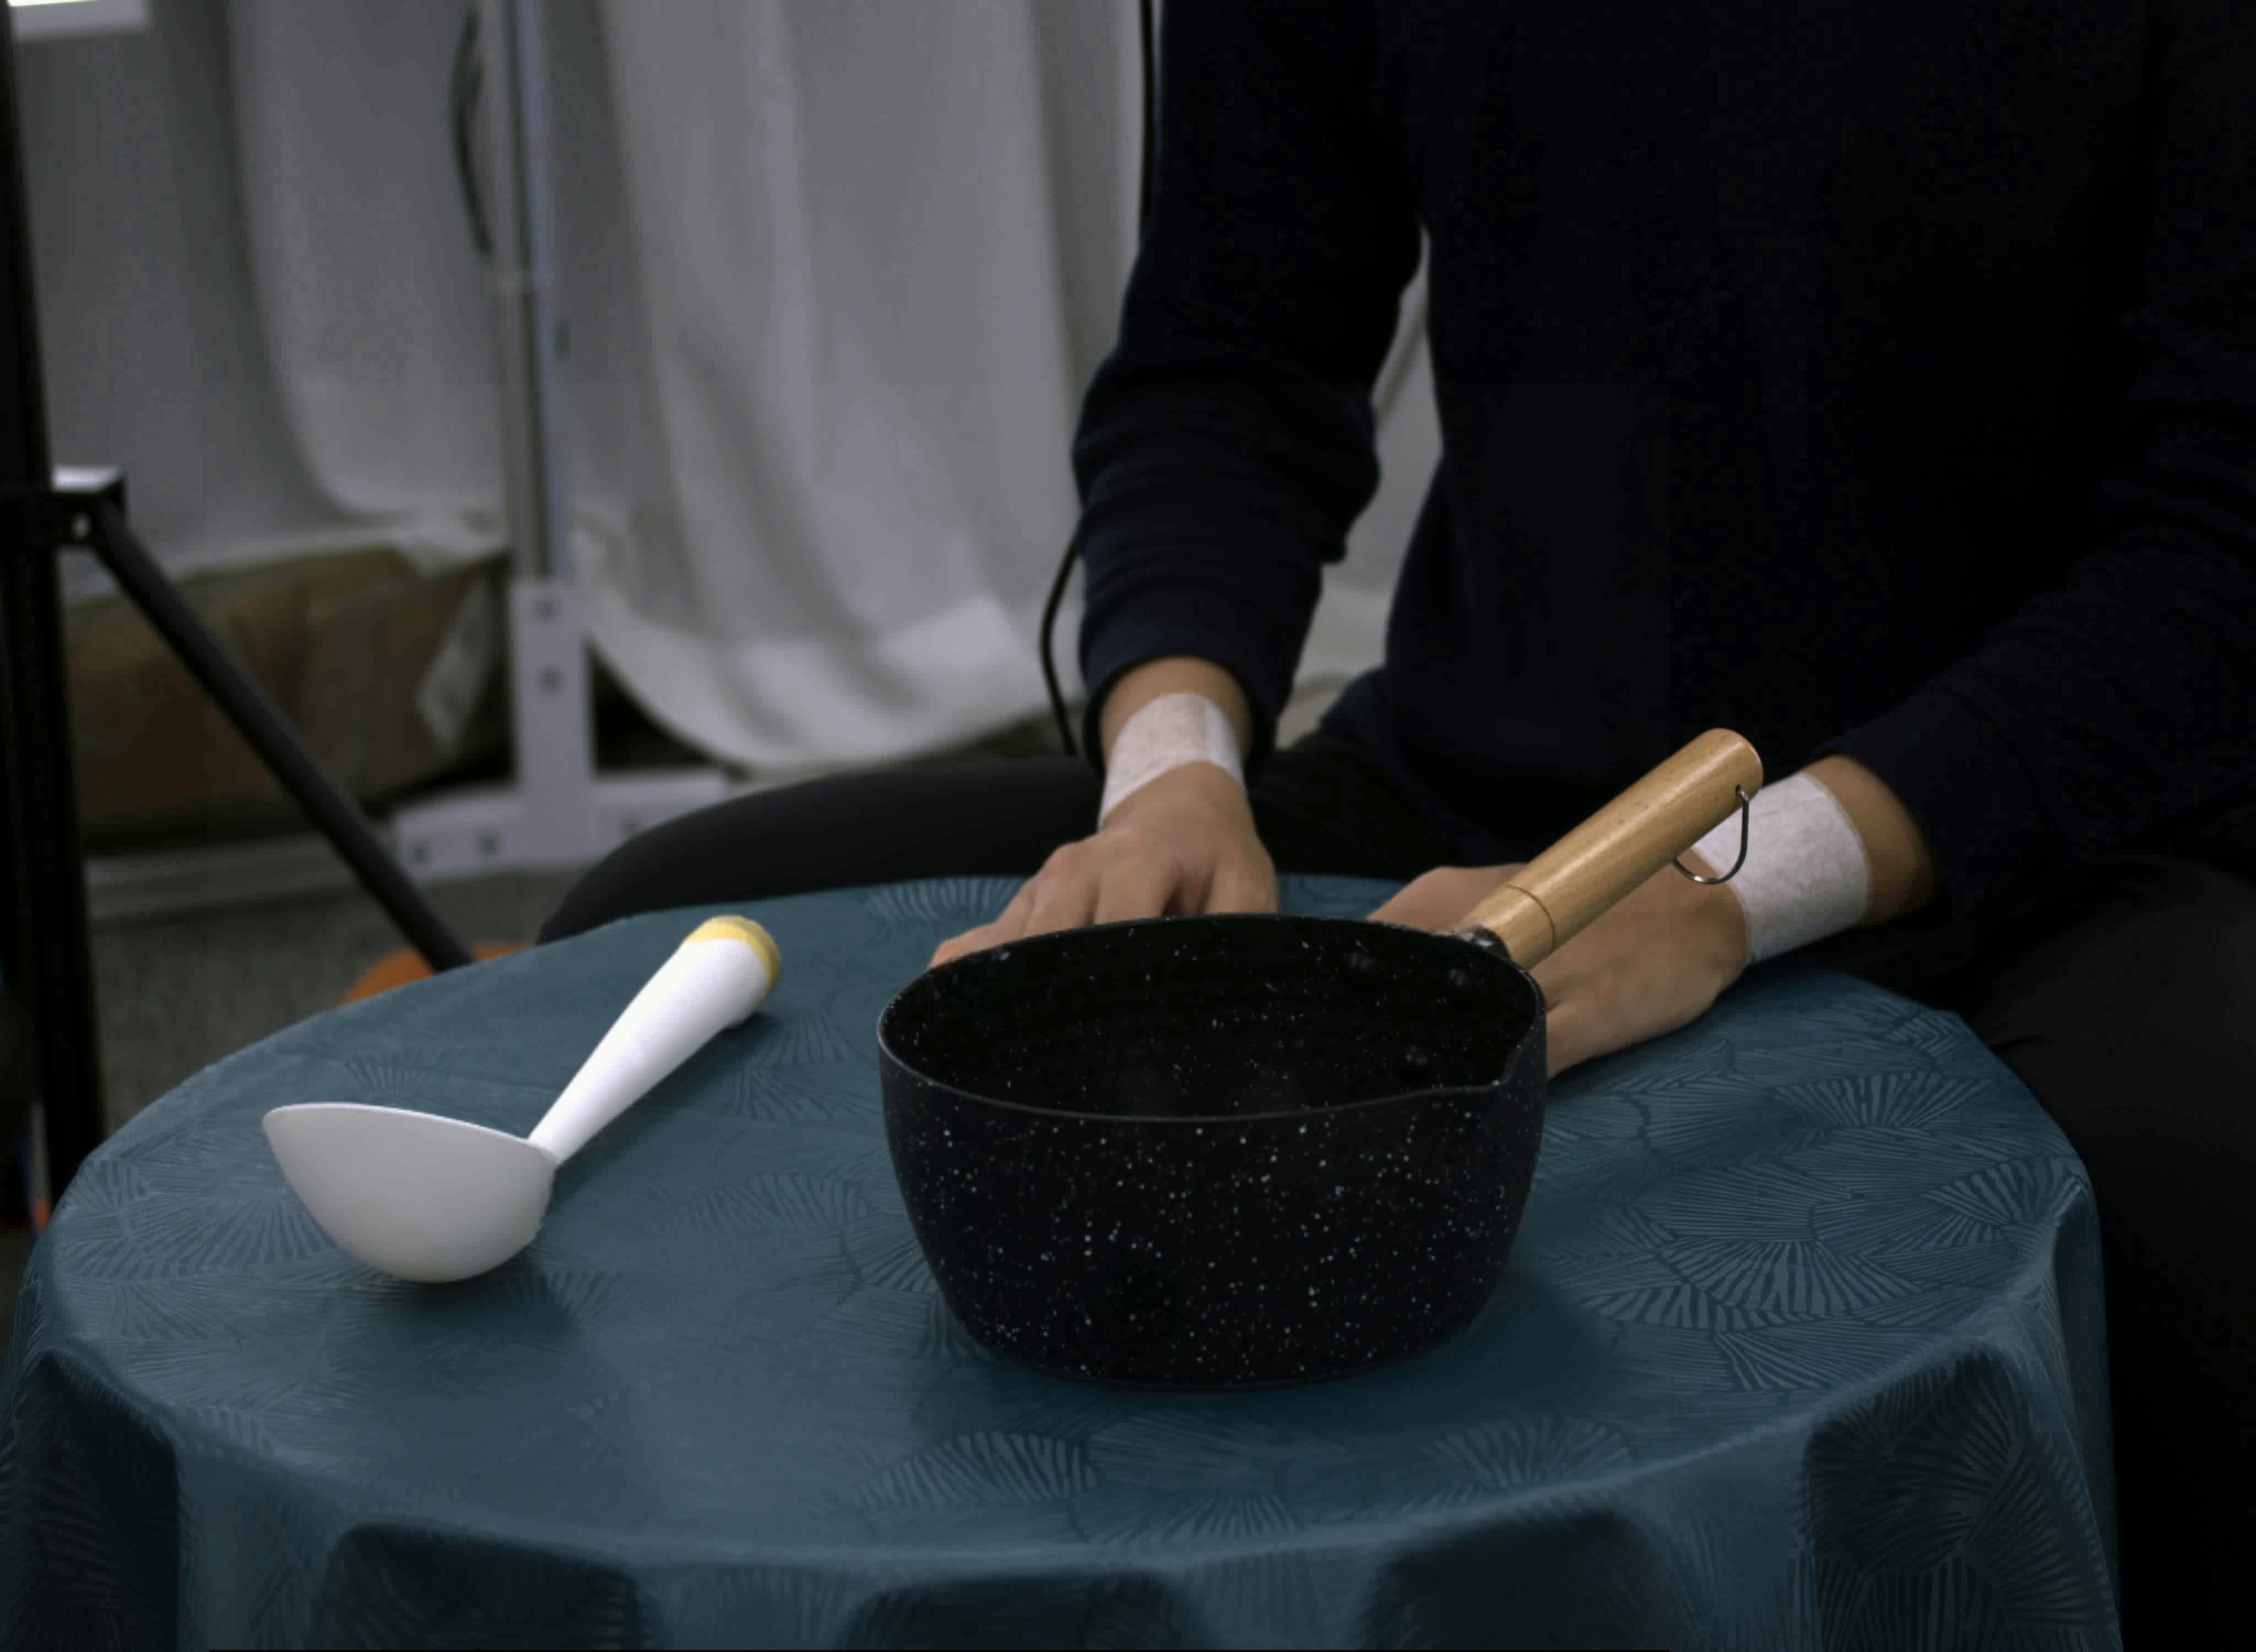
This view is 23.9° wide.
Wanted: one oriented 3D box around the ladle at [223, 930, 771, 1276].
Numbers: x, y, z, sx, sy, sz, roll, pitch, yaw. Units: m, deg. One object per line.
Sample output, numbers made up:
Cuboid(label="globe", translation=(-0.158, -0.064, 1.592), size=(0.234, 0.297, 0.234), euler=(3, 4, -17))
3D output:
Cuboid(label="ladle", translation=(-0.175, 0.068, 1.609), size=(0.091, 0.070, 0.290), euler=(-4, 14, 19))

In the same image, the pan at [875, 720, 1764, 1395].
Cuboid(label="pan", translation=(0.075, 0.061, 1.514), size=(0.212, 0.108, 0.335), euler=(10, 21, 40))
